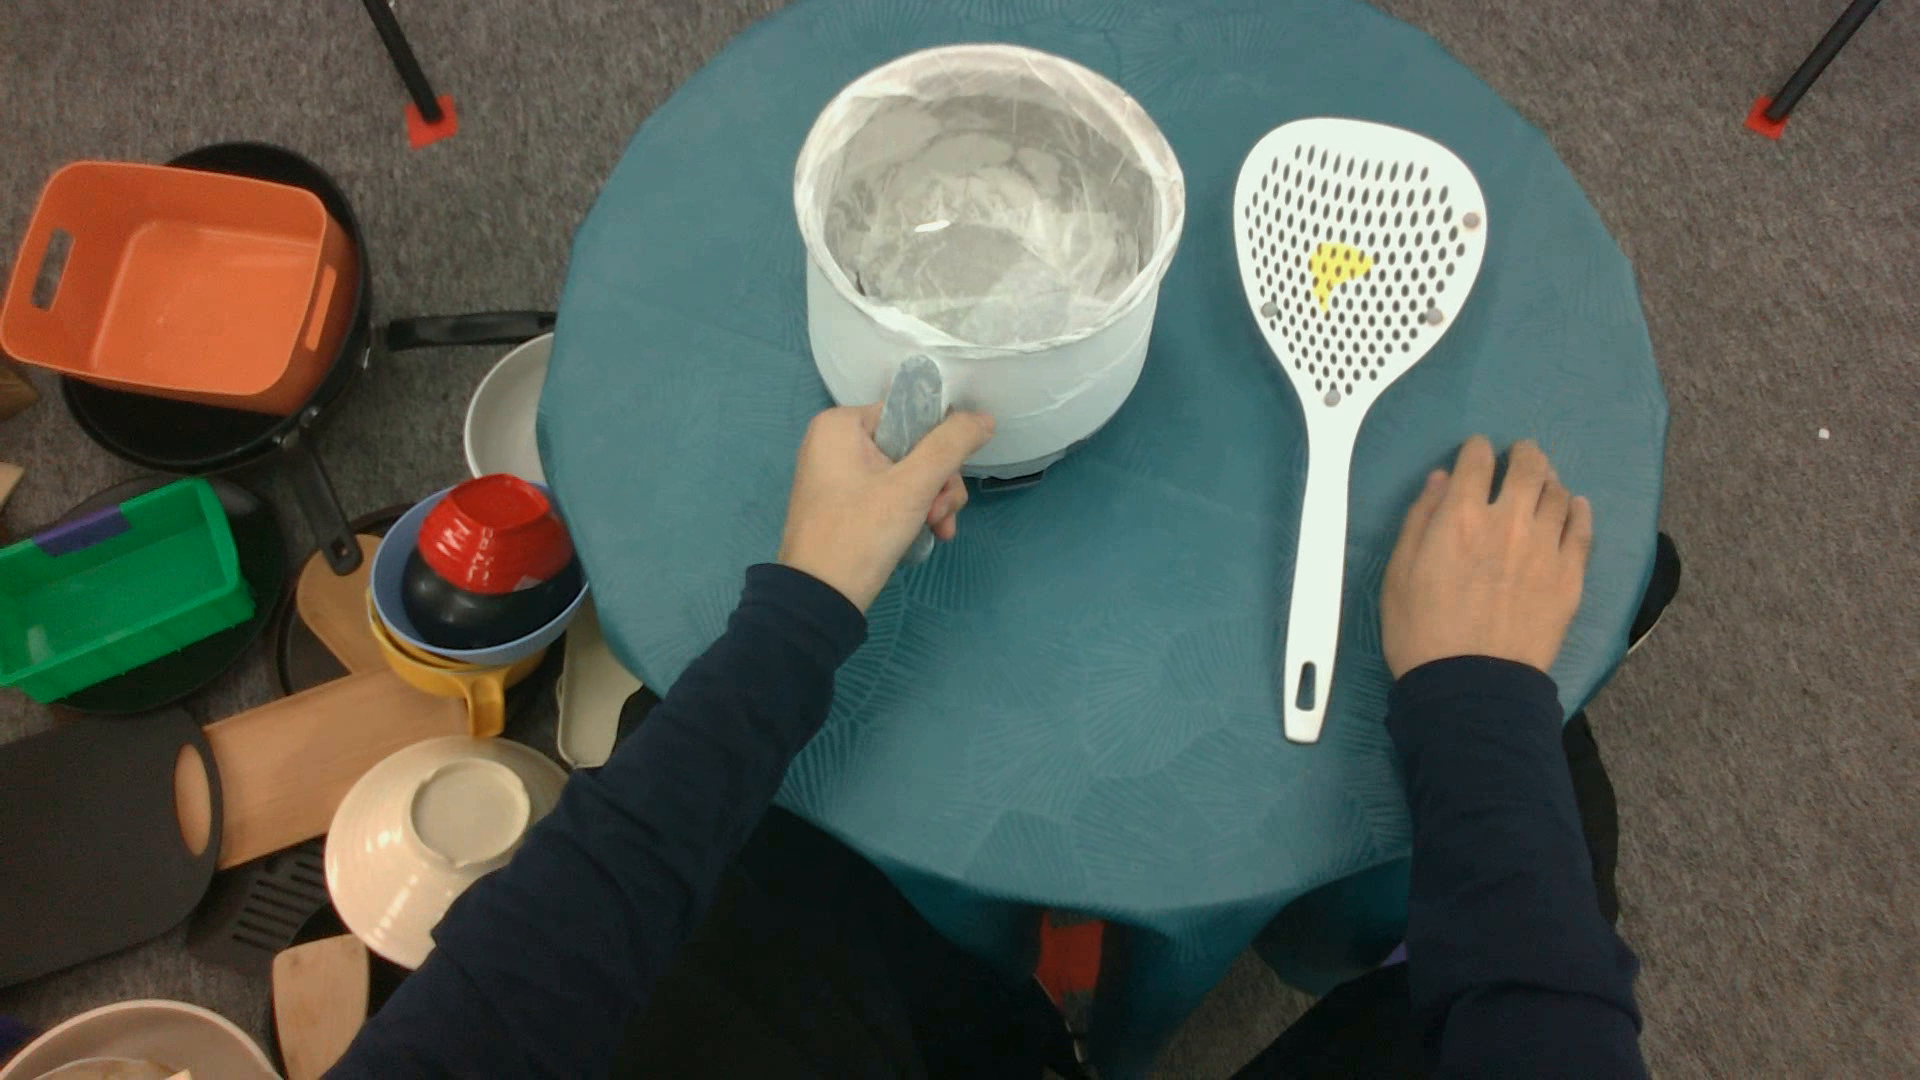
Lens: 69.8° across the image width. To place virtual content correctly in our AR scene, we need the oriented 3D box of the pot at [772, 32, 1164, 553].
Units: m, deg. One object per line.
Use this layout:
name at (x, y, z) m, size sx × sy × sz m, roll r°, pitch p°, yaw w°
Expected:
pot at (-0.004, -0.113, 0.665) m, size 0.178 × 0.136 × 0.234 m, roll 14°, pitch 63°, yaw 7°

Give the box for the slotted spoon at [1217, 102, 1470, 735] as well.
slotted spoon at (0.187, -0.074, 0.714) m, size 0.137 × 0.050 × 0.349 m, roll 10°, pitch 67°, yaw 1°
